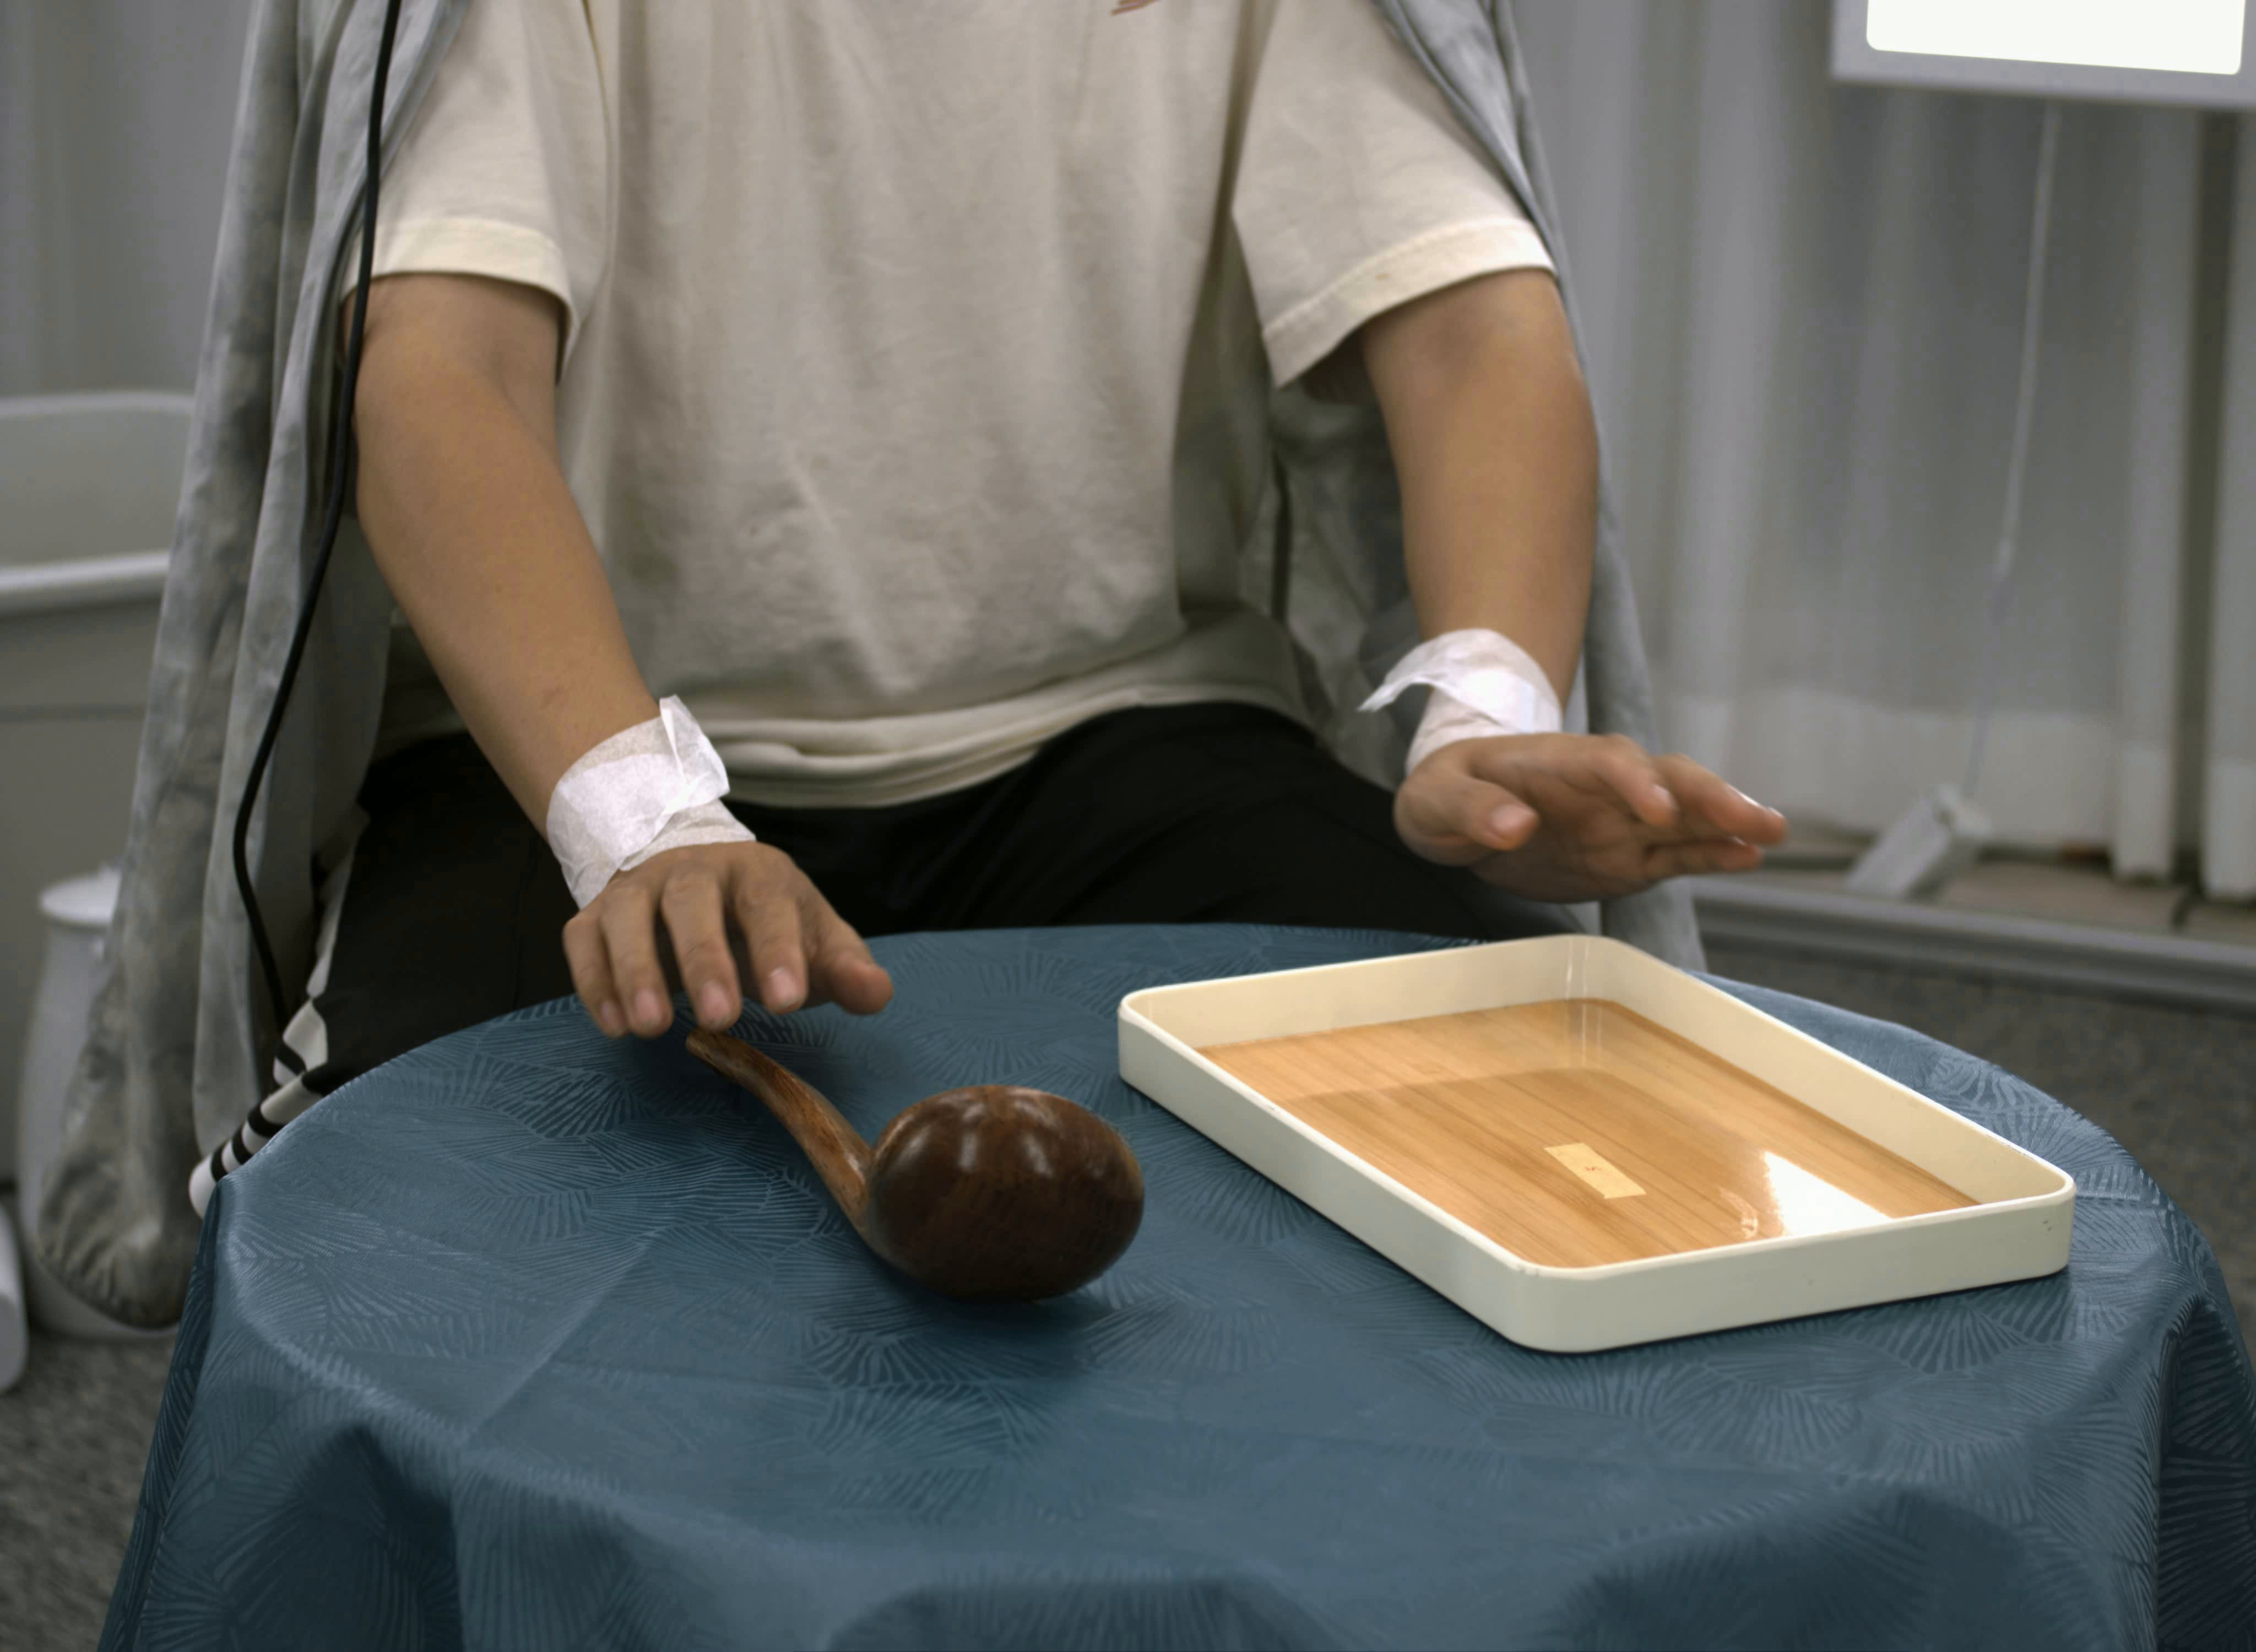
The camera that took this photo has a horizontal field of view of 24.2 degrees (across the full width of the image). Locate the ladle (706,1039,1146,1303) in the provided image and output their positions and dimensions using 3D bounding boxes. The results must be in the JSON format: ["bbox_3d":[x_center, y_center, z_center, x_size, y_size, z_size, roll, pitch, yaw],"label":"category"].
[{"bbox_3d":[-0.071,0.082,1.604,0.082,0.076,0.271,37,0,-23],"label":"ladle"}]

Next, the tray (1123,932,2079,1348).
[{"bbox_3d":[0.140,0.093,1.649,0.192,0.027,0.296,-7,17,-24],"label":"tray"}]
